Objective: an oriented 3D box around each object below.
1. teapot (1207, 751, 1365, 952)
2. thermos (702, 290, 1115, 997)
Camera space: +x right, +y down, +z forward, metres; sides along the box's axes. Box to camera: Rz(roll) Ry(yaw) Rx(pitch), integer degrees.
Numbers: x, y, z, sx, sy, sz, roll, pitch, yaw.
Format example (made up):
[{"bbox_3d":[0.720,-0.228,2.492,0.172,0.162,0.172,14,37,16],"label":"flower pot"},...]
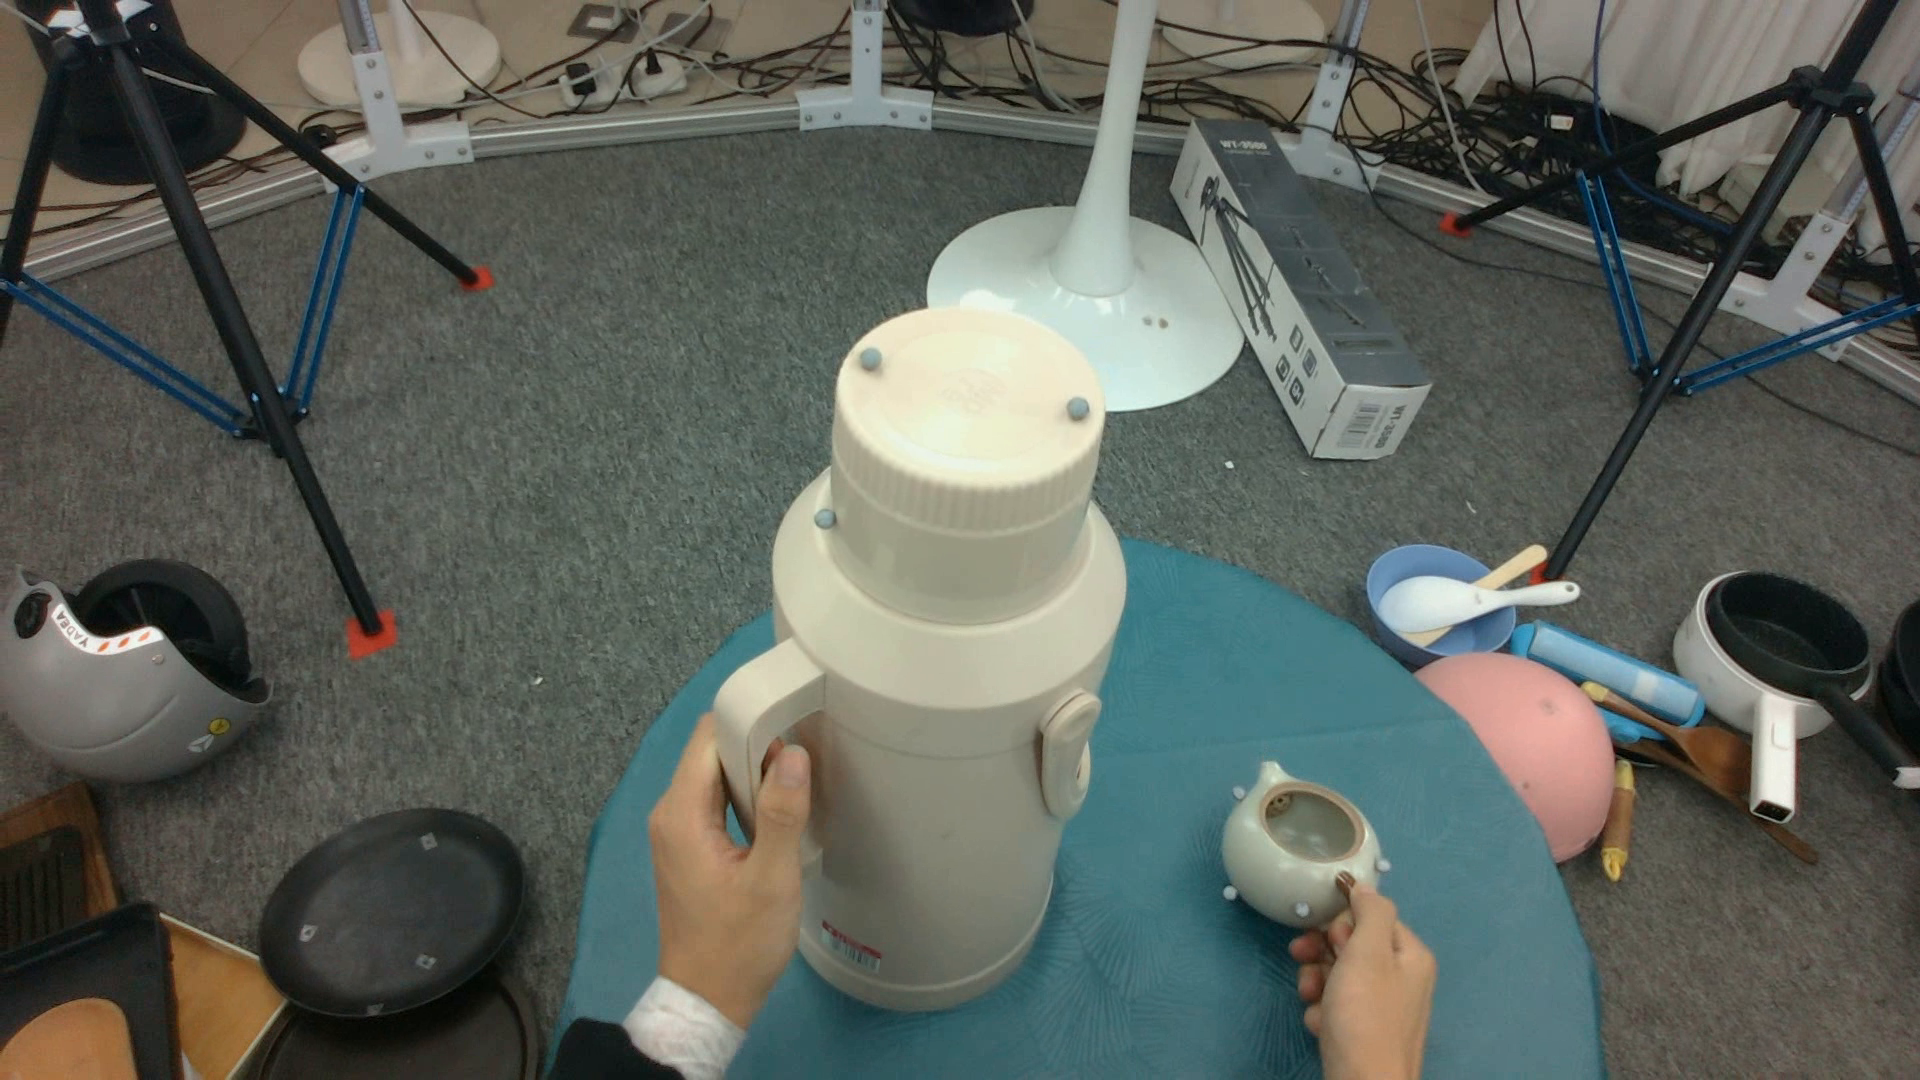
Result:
[{"bbox_3d":[0.197,0.185,0.811,0.092,0.059,0.128,-6,37,-20],"label":"teapot"},{"bbox_3d":[-0.030,0.073,0.669,0.208,0.404,0.175,-31,60,-30],"label":"thermos"}]
